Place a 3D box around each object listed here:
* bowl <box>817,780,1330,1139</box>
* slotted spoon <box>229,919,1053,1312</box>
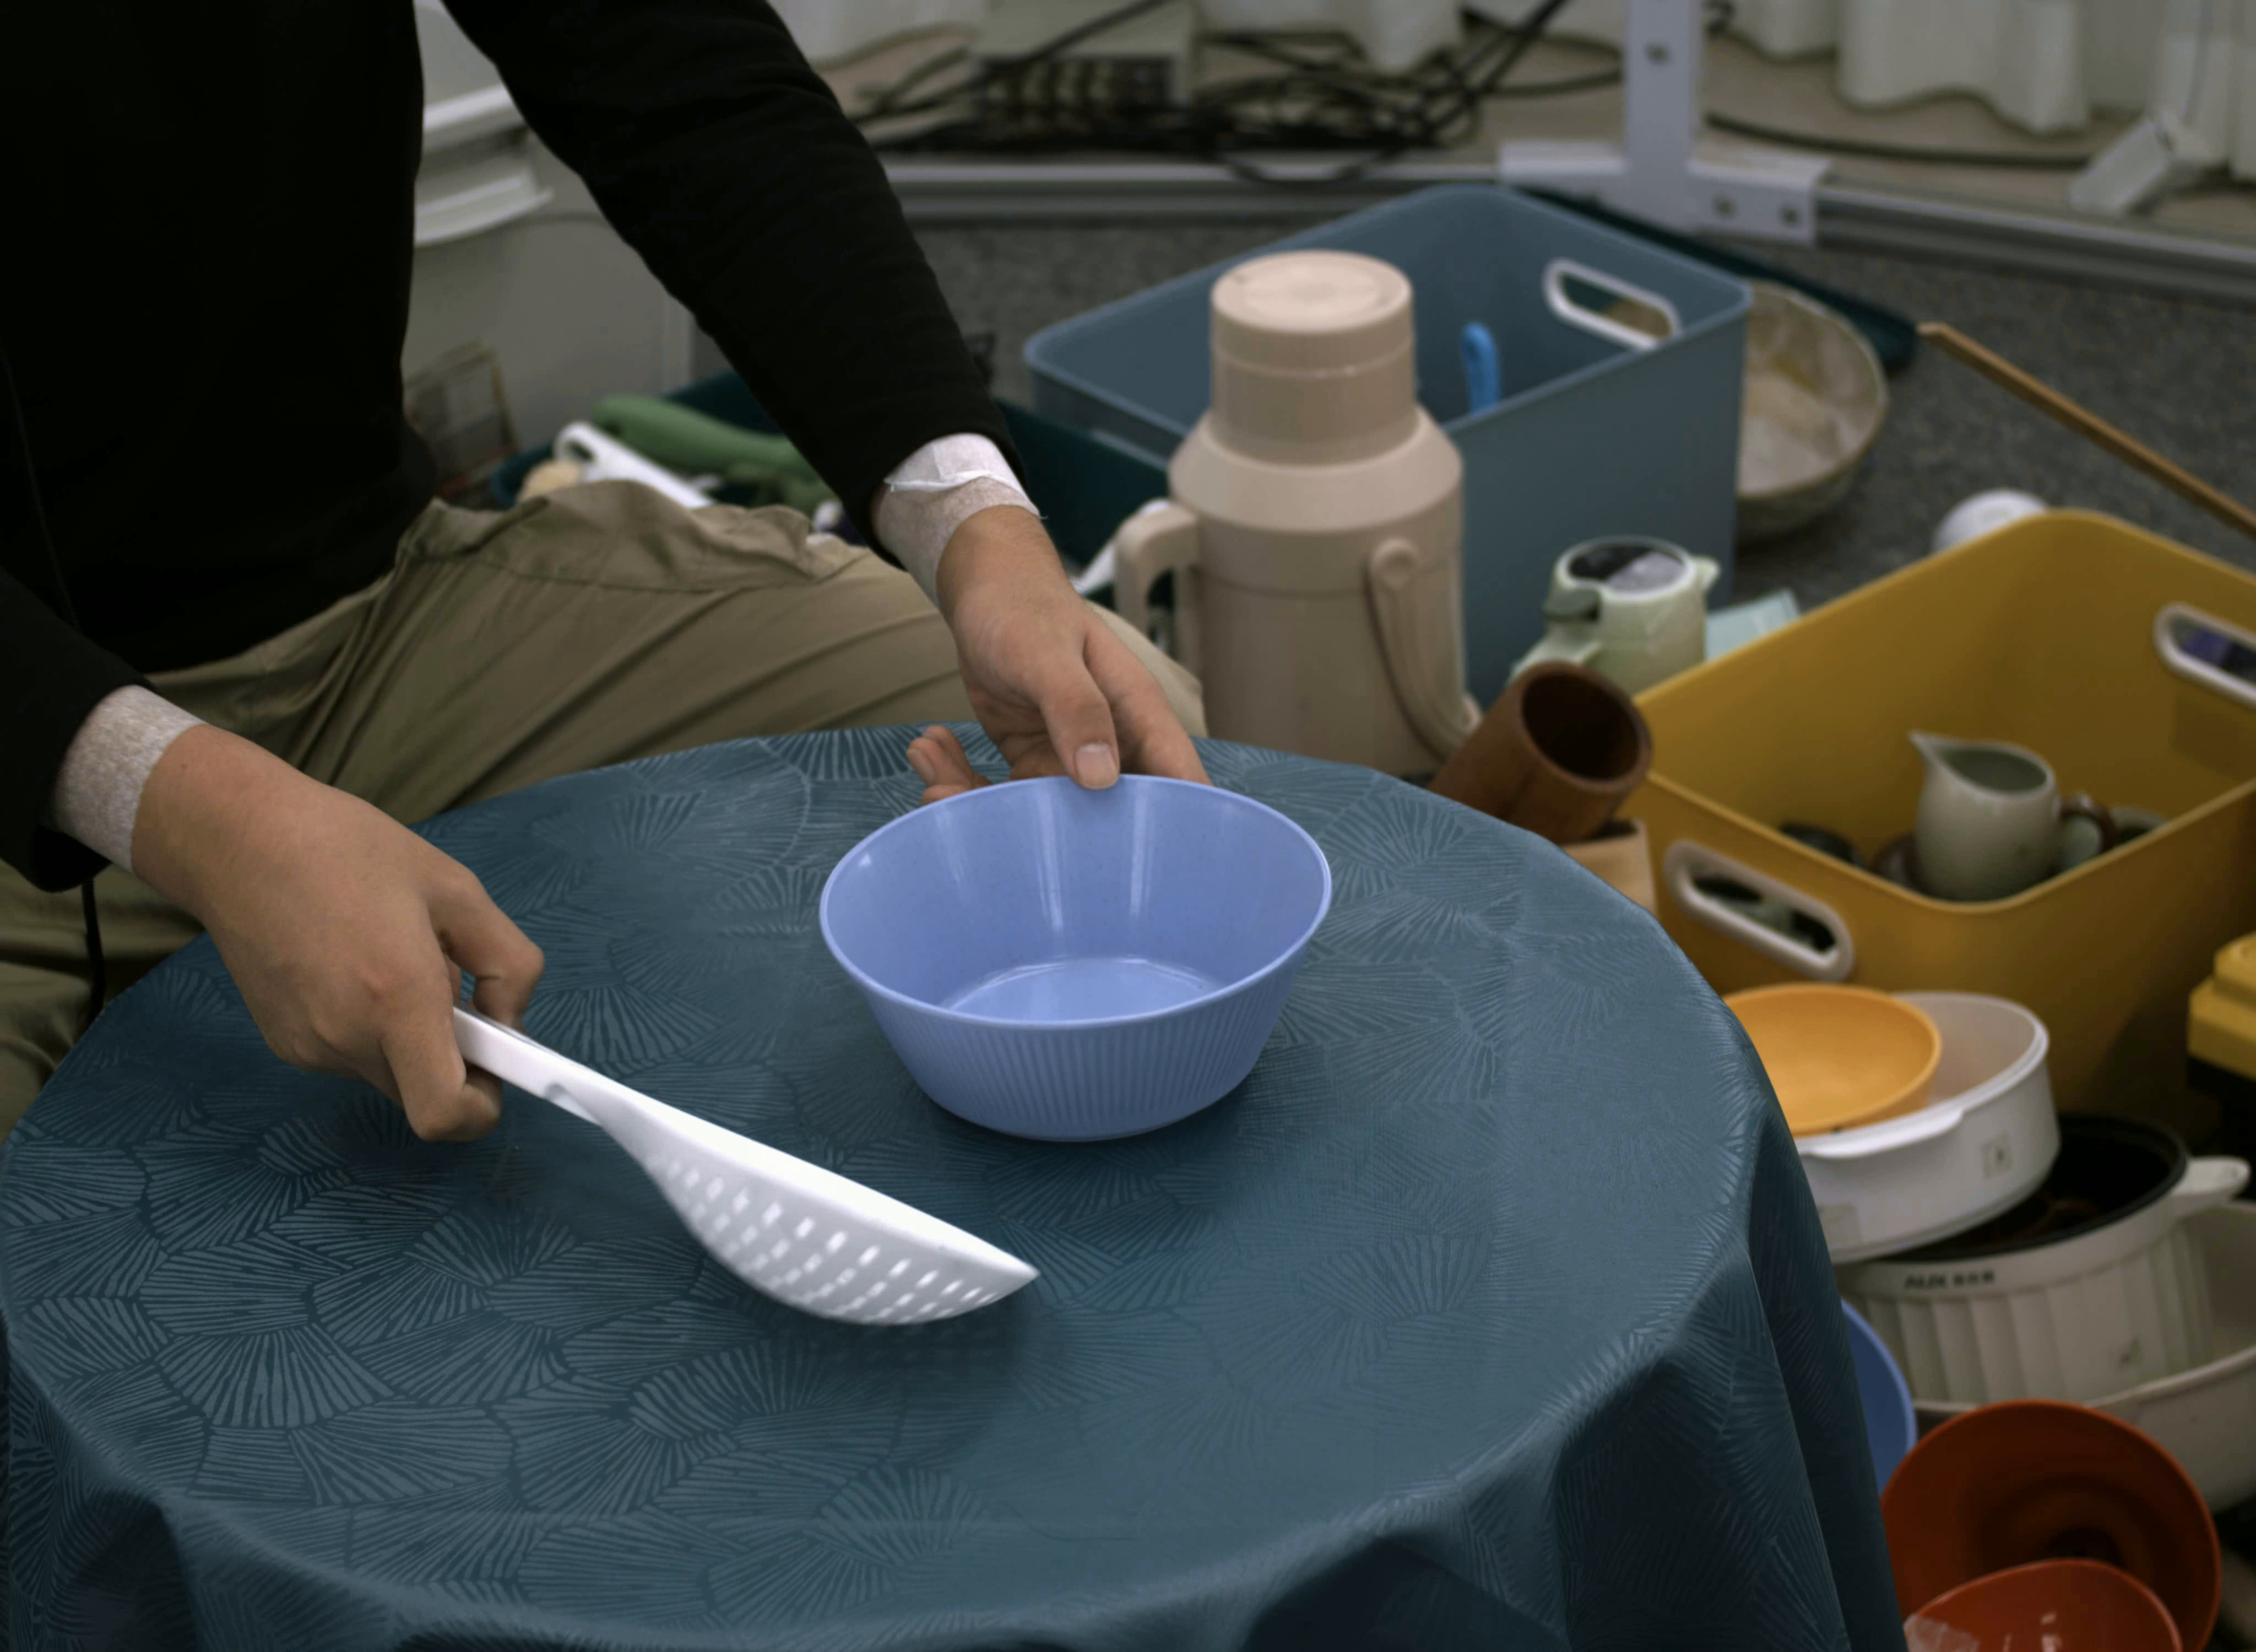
[{"bbox_3d":[-0.017,0.051,1.924,0.175,0.069,0.178,-3,26,2],"label":"bowl"},{"bbox_3d":[-0.171,0.089,1.840,0.349,0.046,0.135,26,-3,36],"label":"slotted spoon"}]
